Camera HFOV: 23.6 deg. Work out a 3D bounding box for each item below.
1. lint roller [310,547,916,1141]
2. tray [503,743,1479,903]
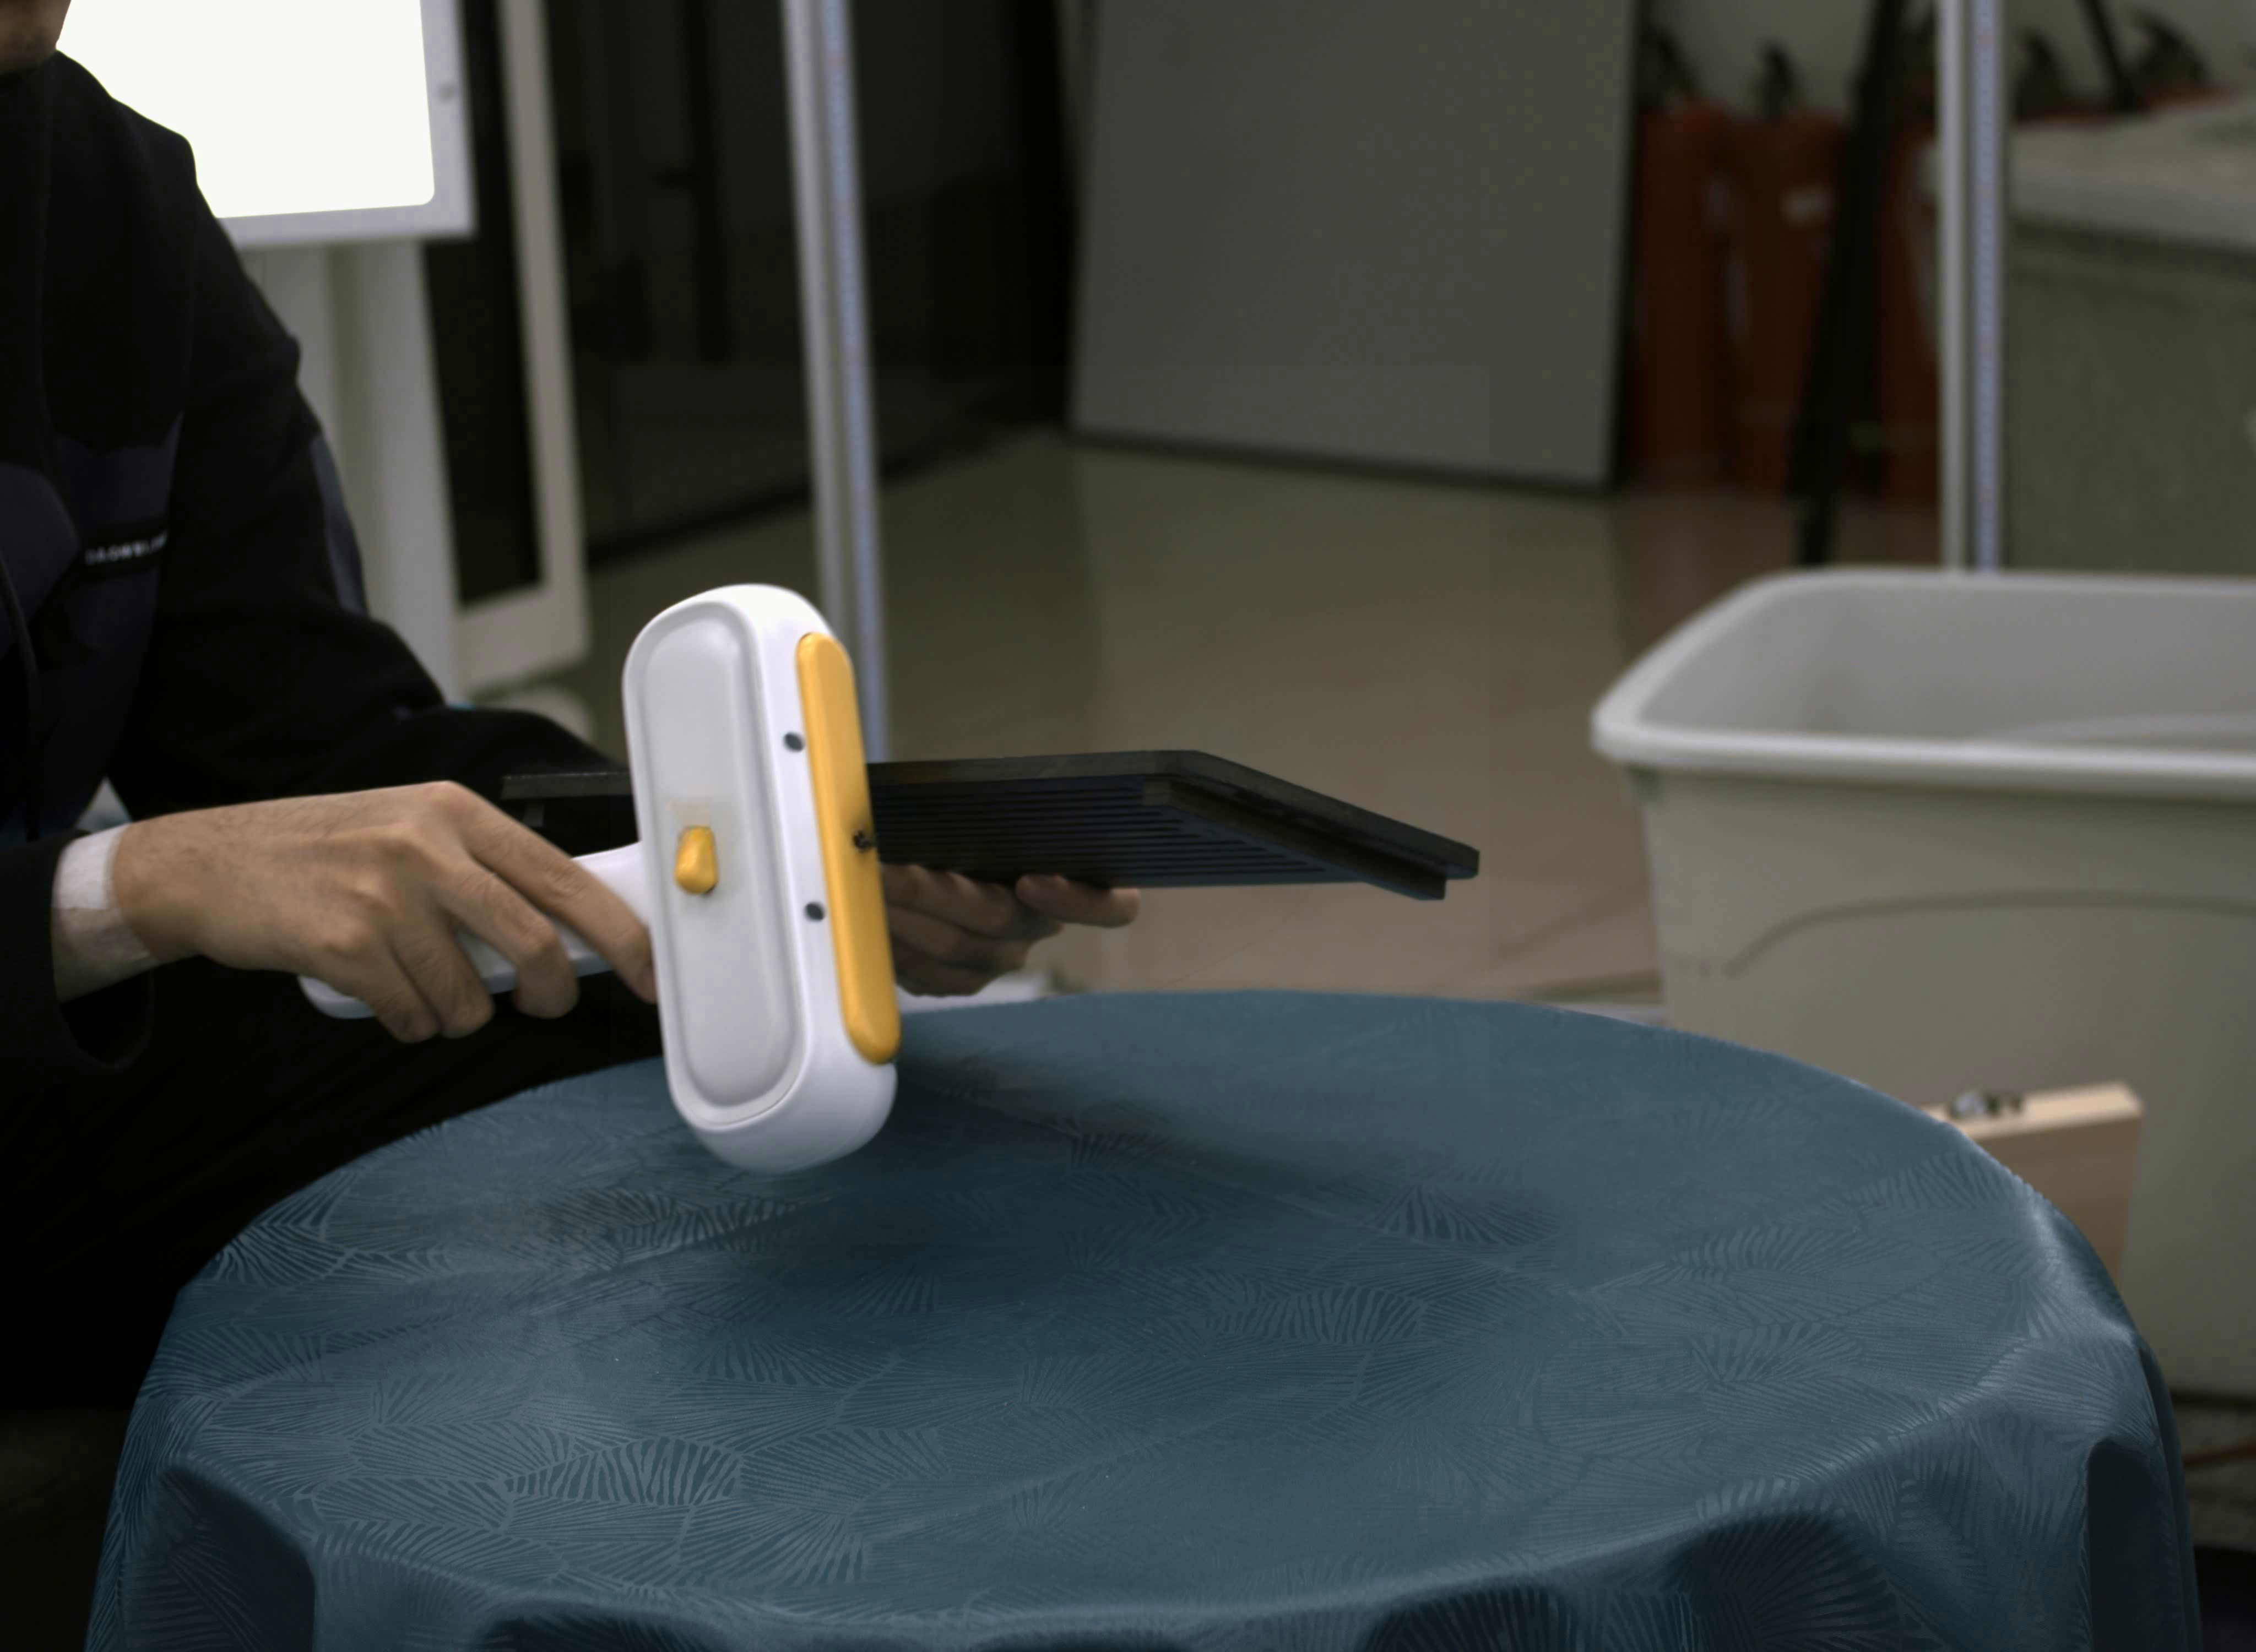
[{"bbox_3d":[-0.167,0.024,1.714,0.192,0.195,0.073,-23,-21,20],"label":"lint roller"},{"bbox_3d":[-0.049,0.005,1.797,0.308,0.019,0.167,-3,-15,39],"label":"tray"}]
